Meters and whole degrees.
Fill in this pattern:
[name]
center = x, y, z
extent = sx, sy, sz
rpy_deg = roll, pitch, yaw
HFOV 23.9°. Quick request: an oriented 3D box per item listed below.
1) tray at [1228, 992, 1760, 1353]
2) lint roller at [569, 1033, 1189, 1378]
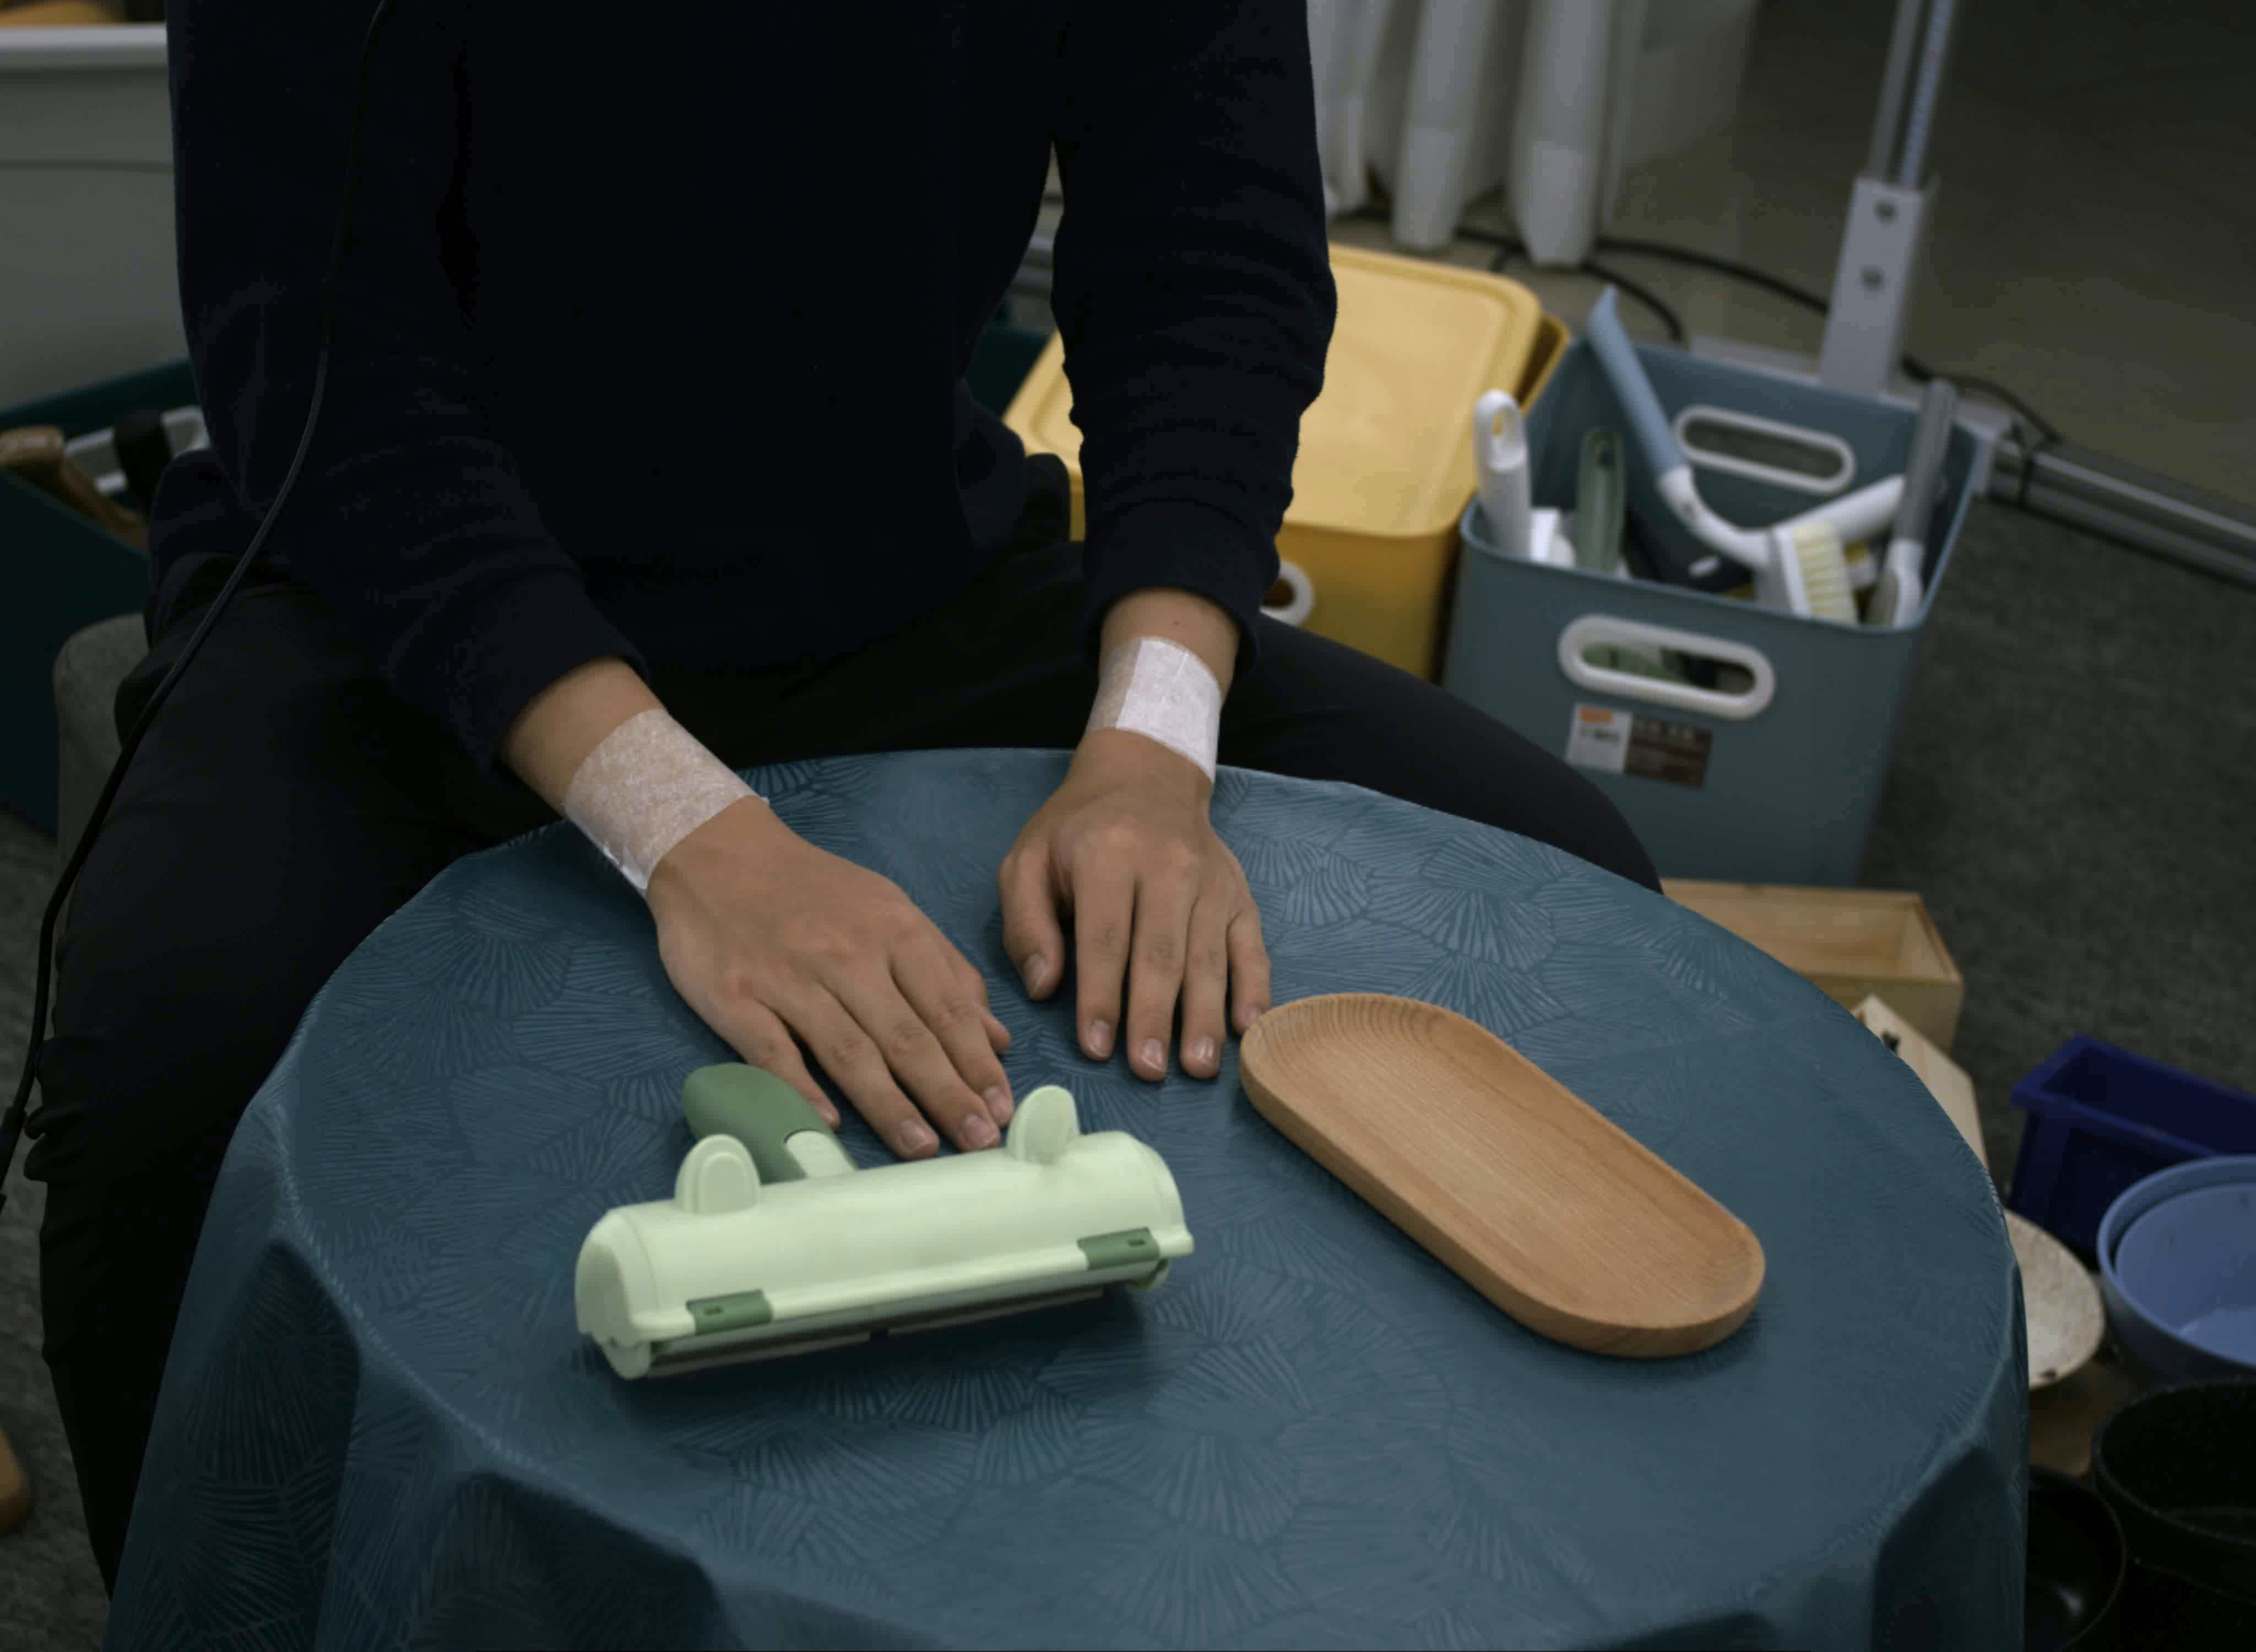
[tray]
center = 0.123, 0.117, 1.826
extent = 0.101, 0.020, 0.233
rpy_deg = -12, 31, -34
[lint roller]
center = -0.102, 0.099, 1.732
extent = 0.197, 0.082, 0.185
rpy_deg = -7, 36, -27
